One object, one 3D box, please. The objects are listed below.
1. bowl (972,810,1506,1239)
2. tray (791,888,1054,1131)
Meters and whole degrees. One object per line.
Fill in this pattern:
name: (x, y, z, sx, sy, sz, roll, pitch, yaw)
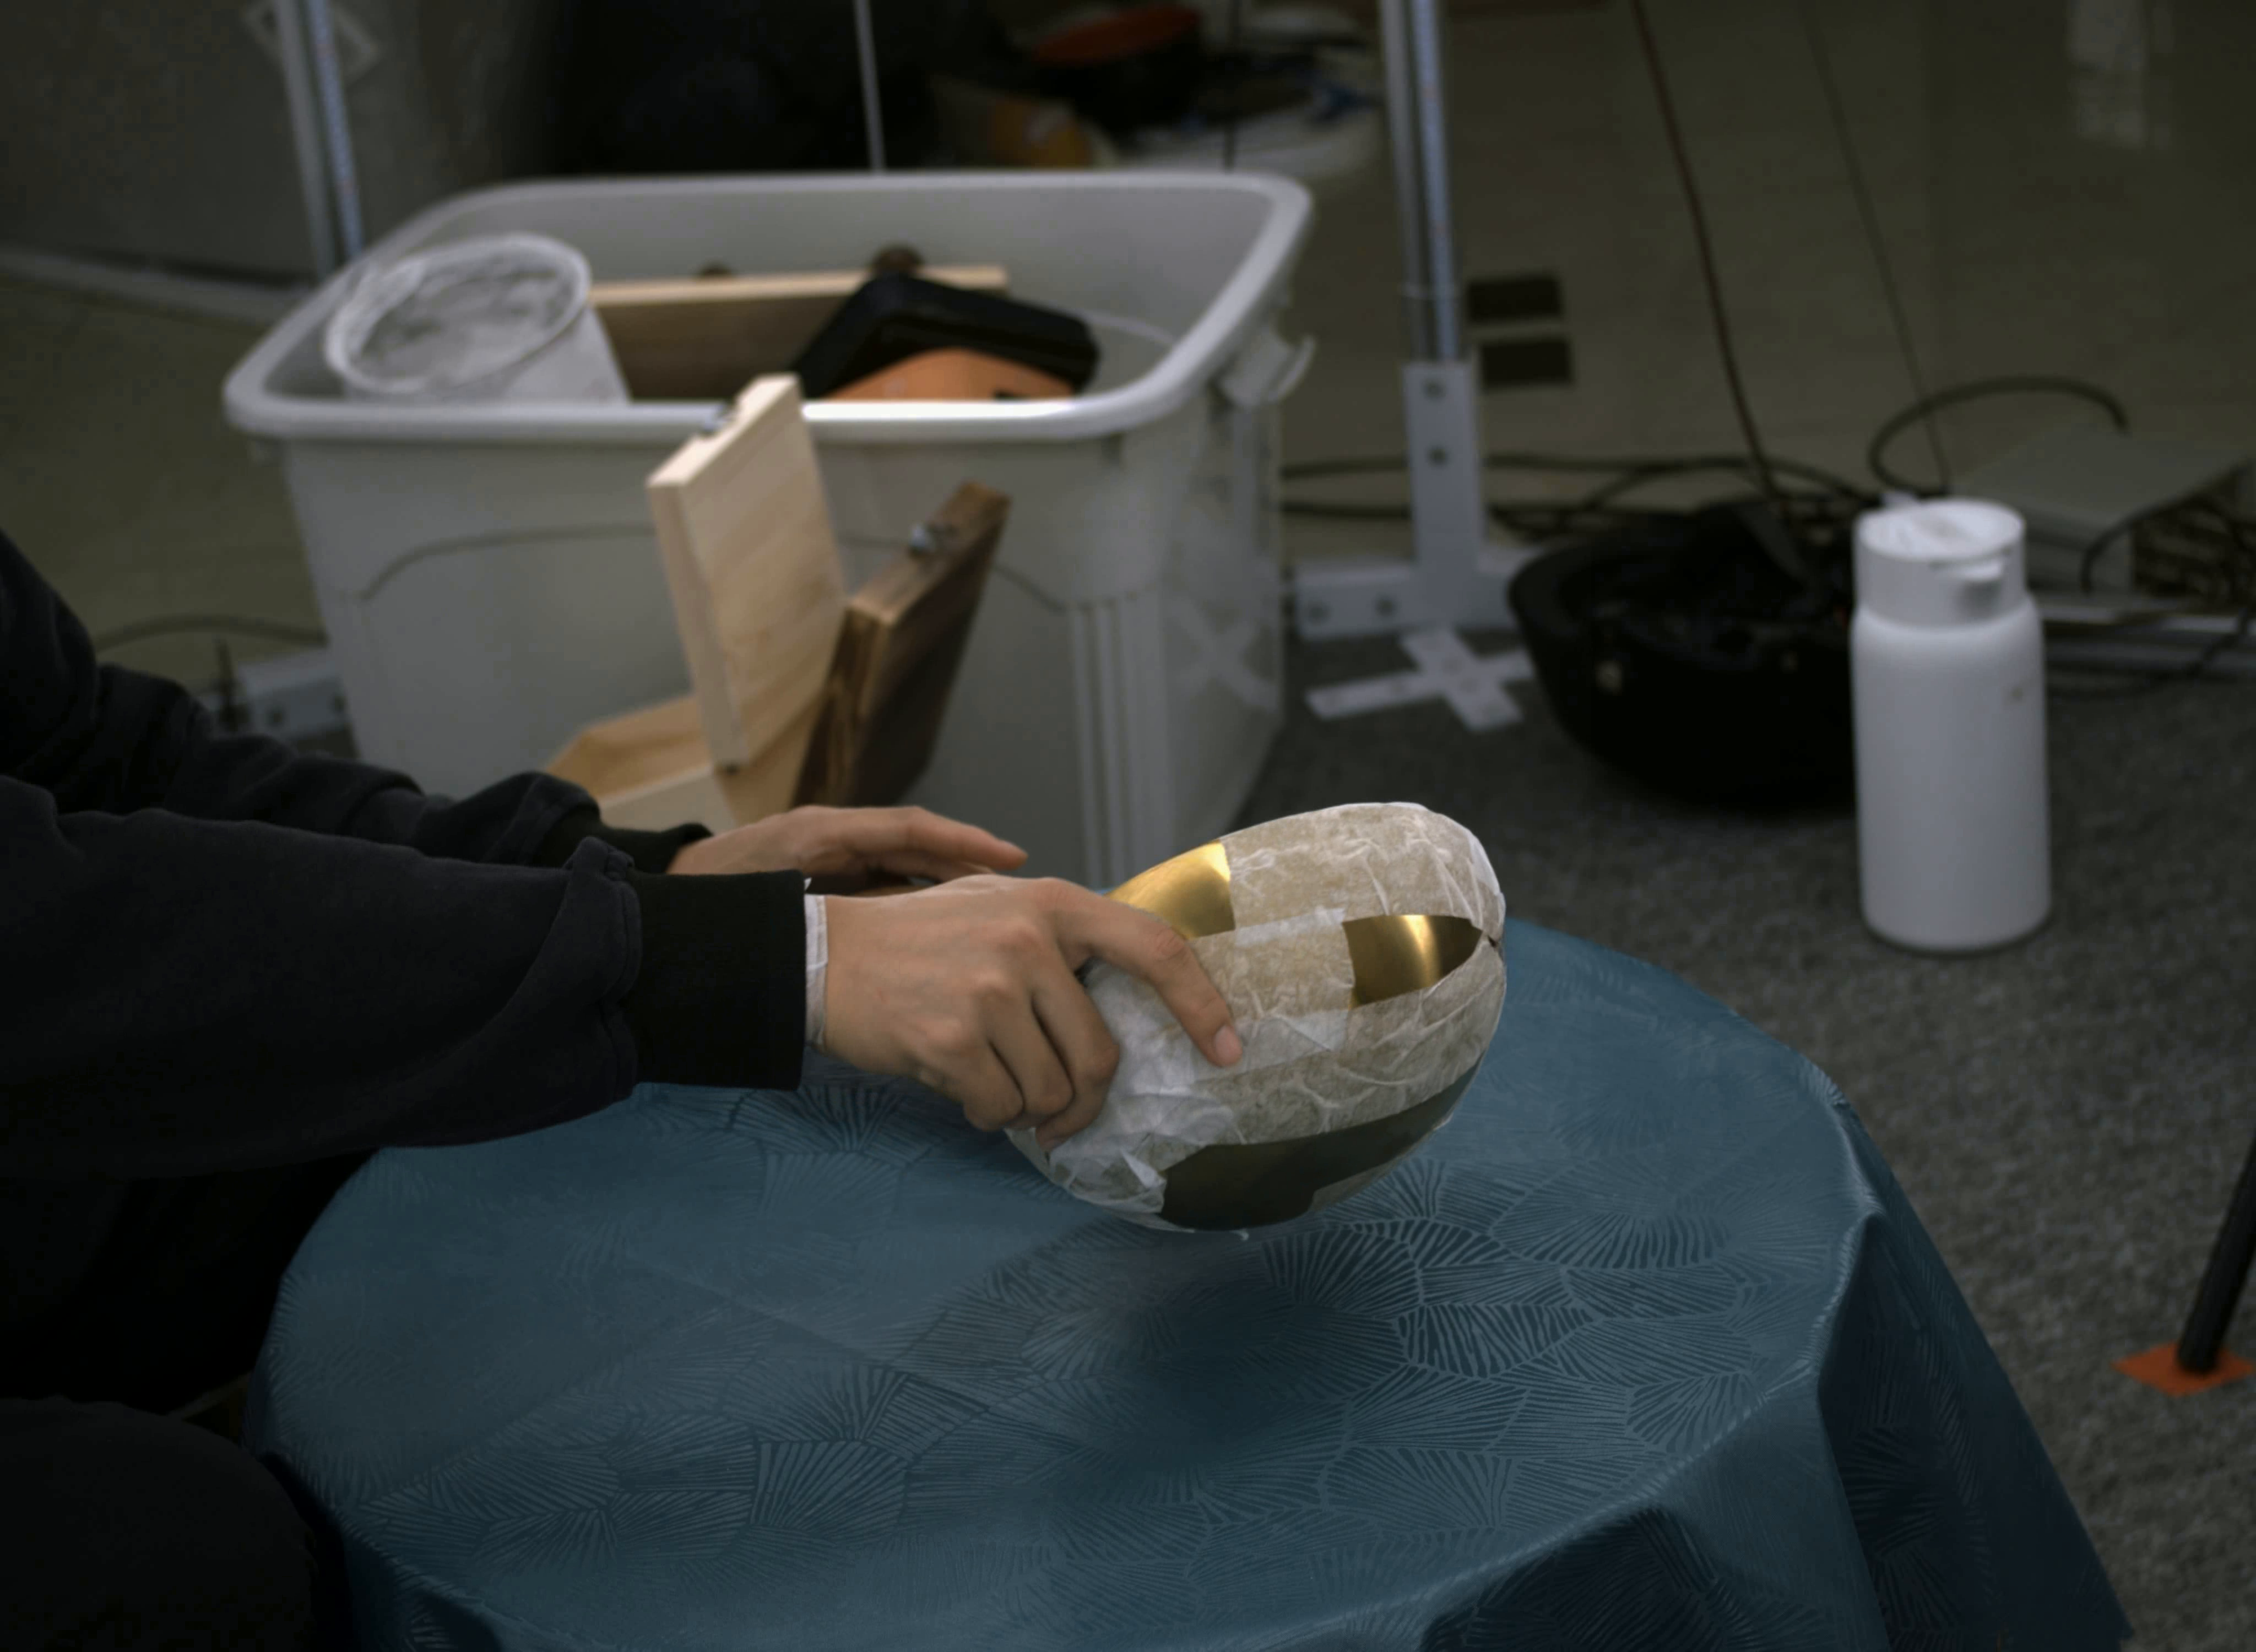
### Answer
bowl: (0.051, 0.089, 2.036, 0.214, 0.218, 0.093, -15, 64, -19)
tray: (-0.032, 0.083, 2.215, 0.229, 0.021, 0.100, 26, 45, 29)
